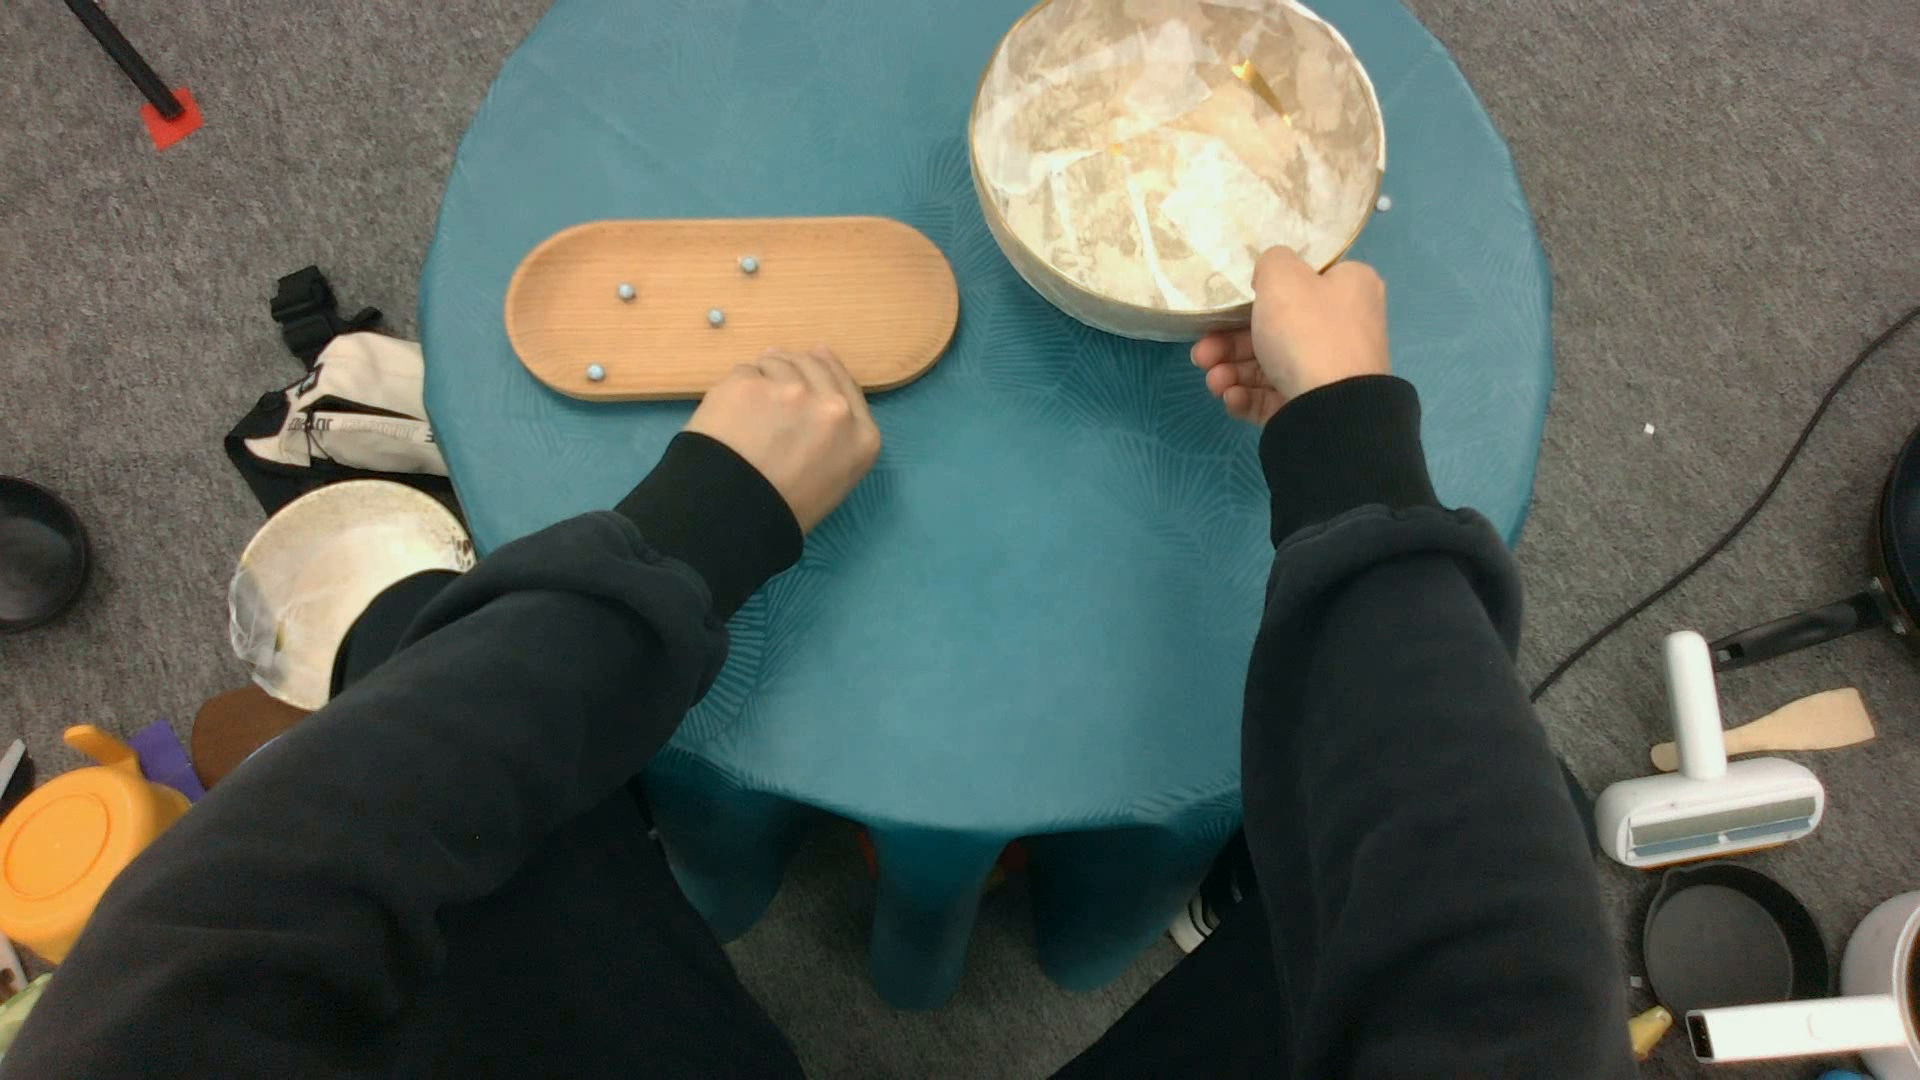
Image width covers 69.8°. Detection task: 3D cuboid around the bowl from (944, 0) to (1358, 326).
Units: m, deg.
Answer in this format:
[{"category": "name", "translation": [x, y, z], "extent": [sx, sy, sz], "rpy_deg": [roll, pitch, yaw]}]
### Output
[{"category": "bowl", "translation": [0.088, -0.190, 0.709], "extent": [0.215, 0.094, 0.215], "rpy_deg": [1, 71, -3]}]

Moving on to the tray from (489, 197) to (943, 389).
[{"category": "tray", "translation": [-0.125, -0.128, 0.715], "extent": [0.231, 0.020, 0.102], "rpy_deg": [-3, 73, -7]}]
